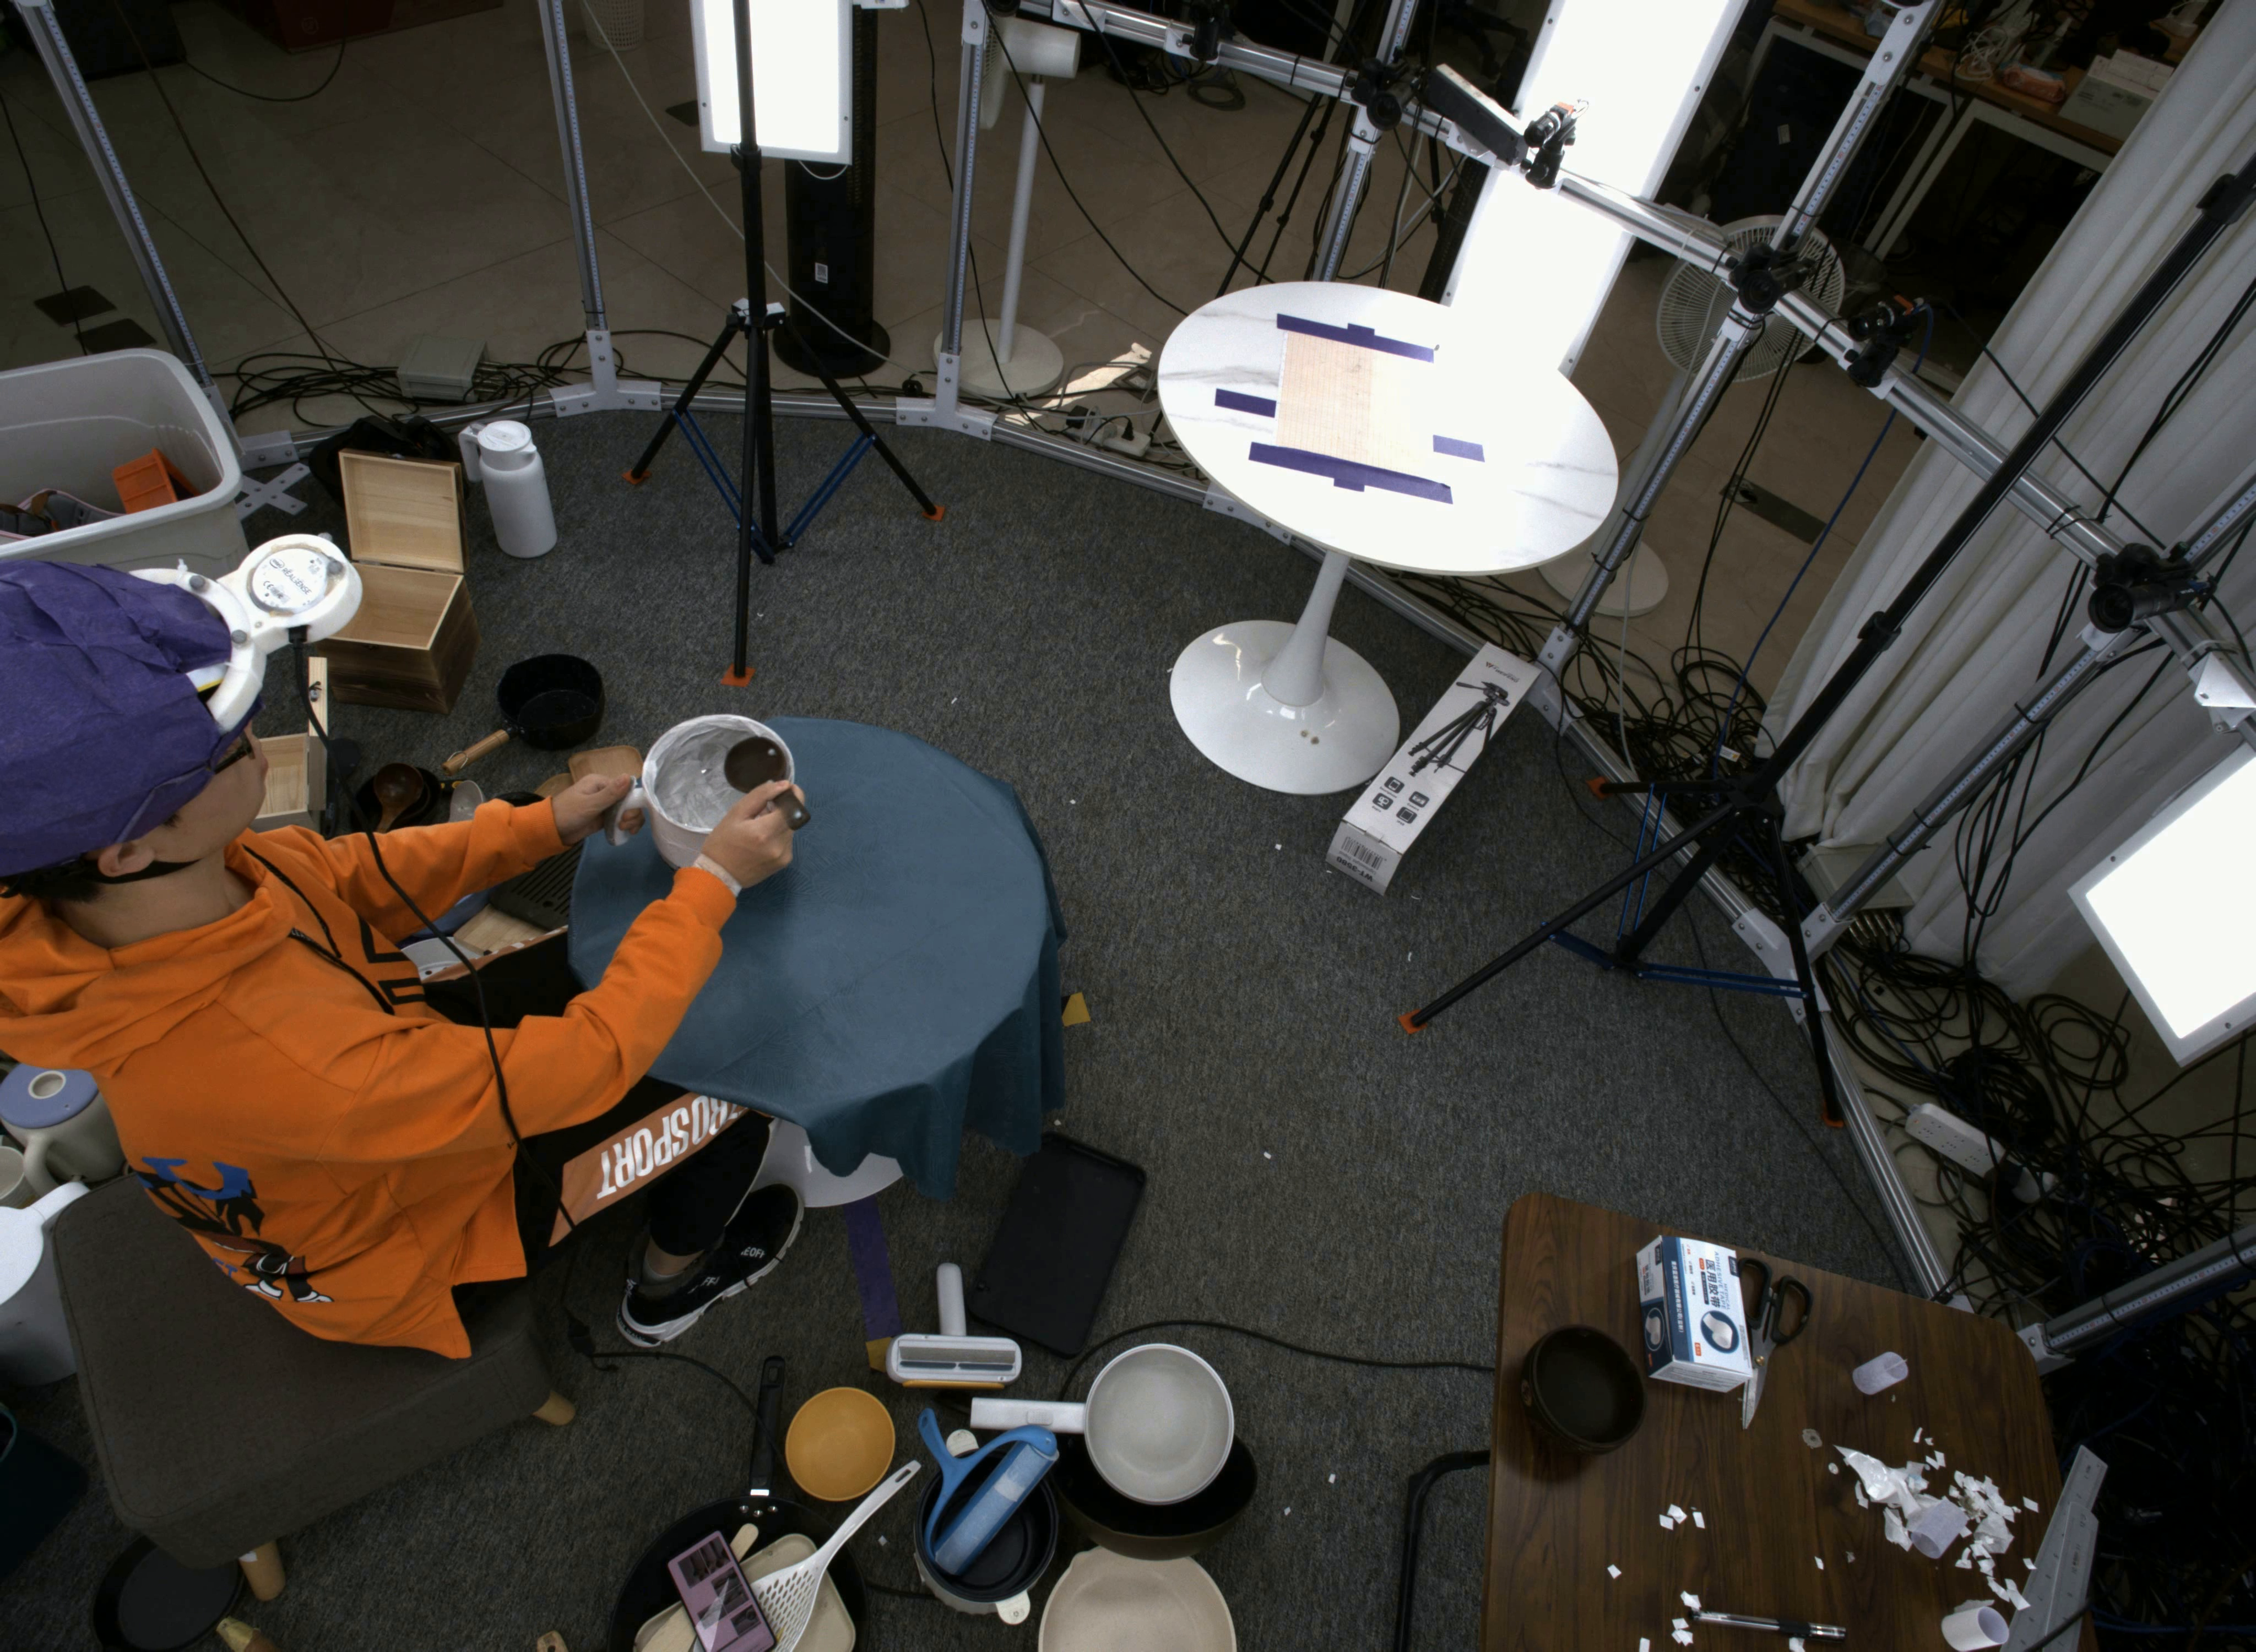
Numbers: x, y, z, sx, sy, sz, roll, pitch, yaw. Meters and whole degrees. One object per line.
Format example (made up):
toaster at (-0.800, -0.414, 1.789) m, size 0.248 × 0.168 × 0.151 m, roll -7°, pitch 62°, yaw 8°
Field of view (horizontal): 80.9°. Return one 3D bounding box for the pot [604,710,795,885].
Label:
pot at (-0.523, -0.027, 1.562) m, size 0.234 × 0.139 × 0.175 m, roll -9°, pitch 59°, yaw -19°

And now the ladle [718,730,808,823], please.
ladle at (-0.404, -0.058, 1.429) m, size 0.076 × 0.266 × 0.073 m, roll -39°, pitch 112°, yaw -12°
